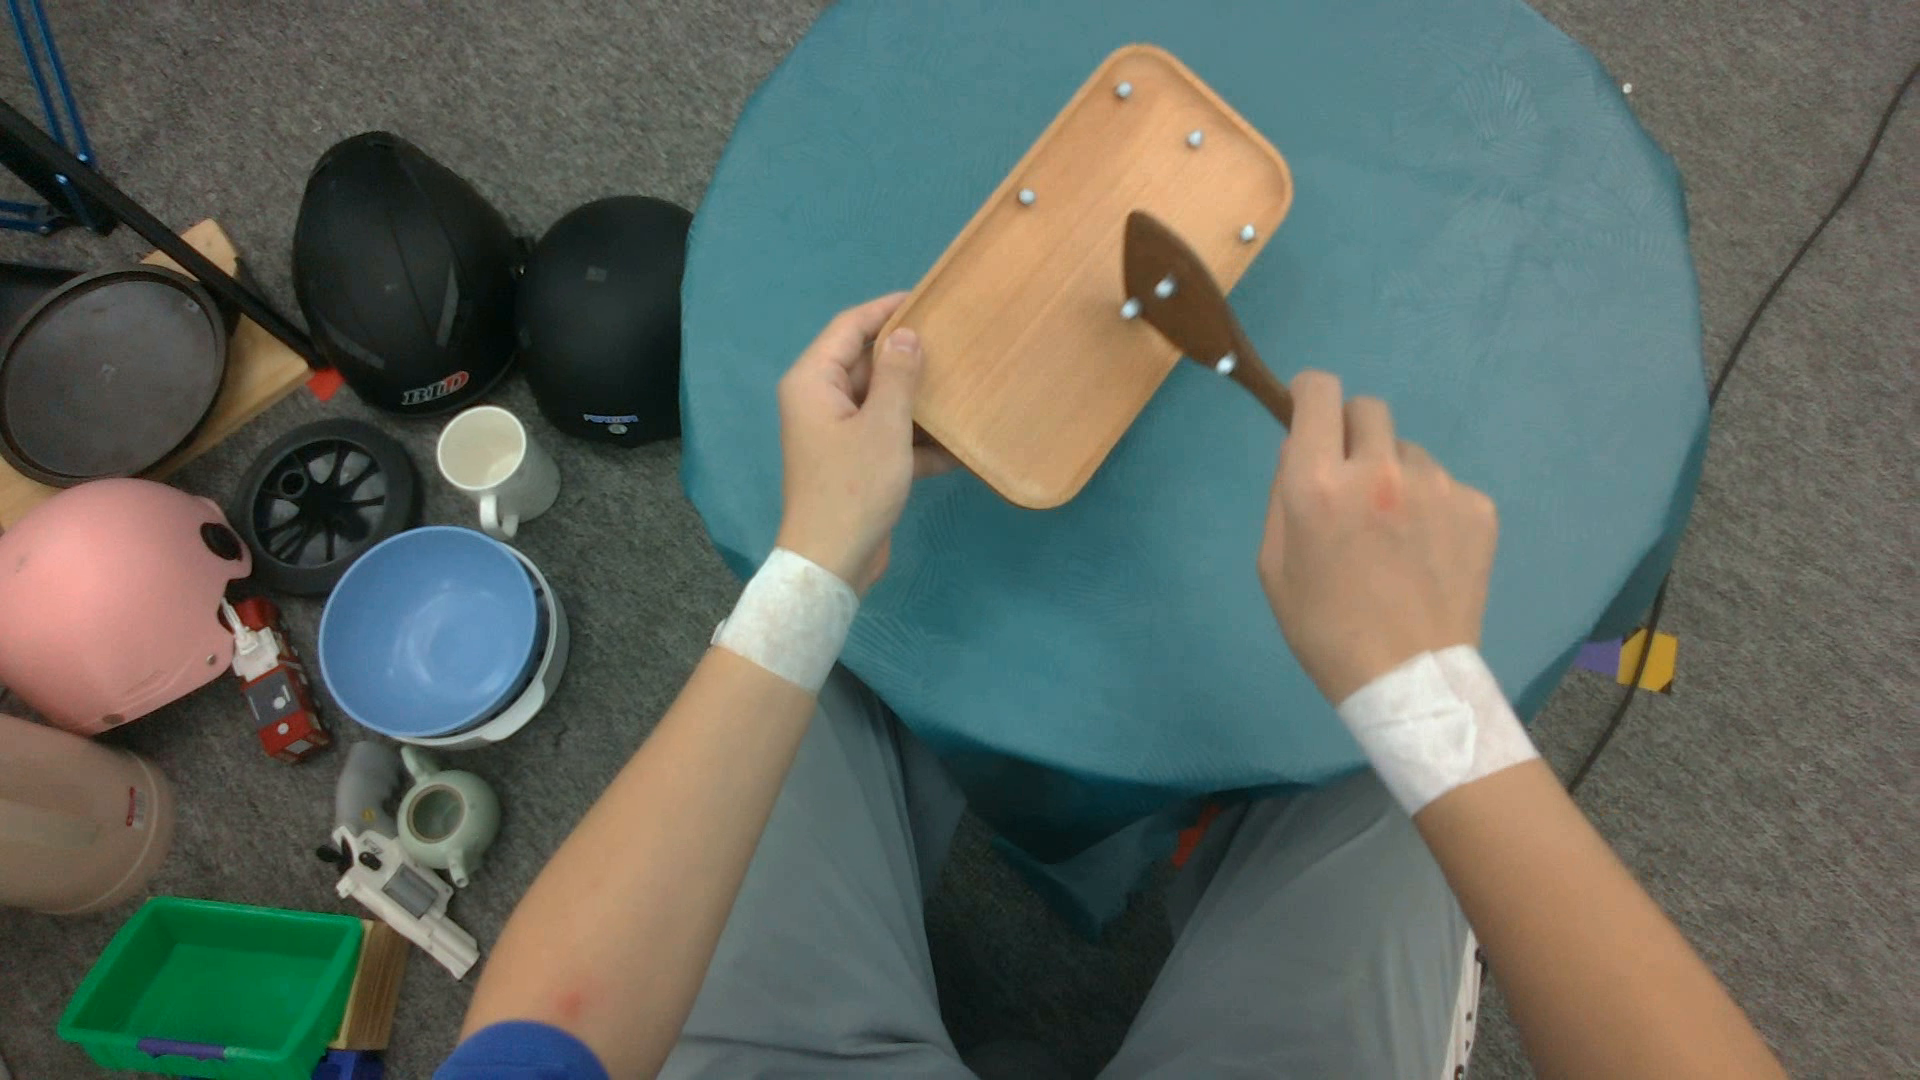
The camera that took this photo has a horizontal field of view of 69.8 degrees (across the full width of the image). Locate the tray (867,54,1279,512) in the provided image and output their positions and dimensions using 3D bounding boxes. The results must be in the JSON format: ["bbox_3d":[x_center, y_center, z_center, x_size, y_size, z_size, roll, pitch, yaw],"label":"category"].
[{"bbox_3d":[0.064,-0.137,0.721,0.130,0.023,0.251,39,74,-4],"label":"tray"}]

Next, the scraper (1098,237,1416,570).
[{"bbox_3d":[0.135,-0.063,0.649,0.011,0.075,0.211,-34,64,-13],"label":"scraper"}]
